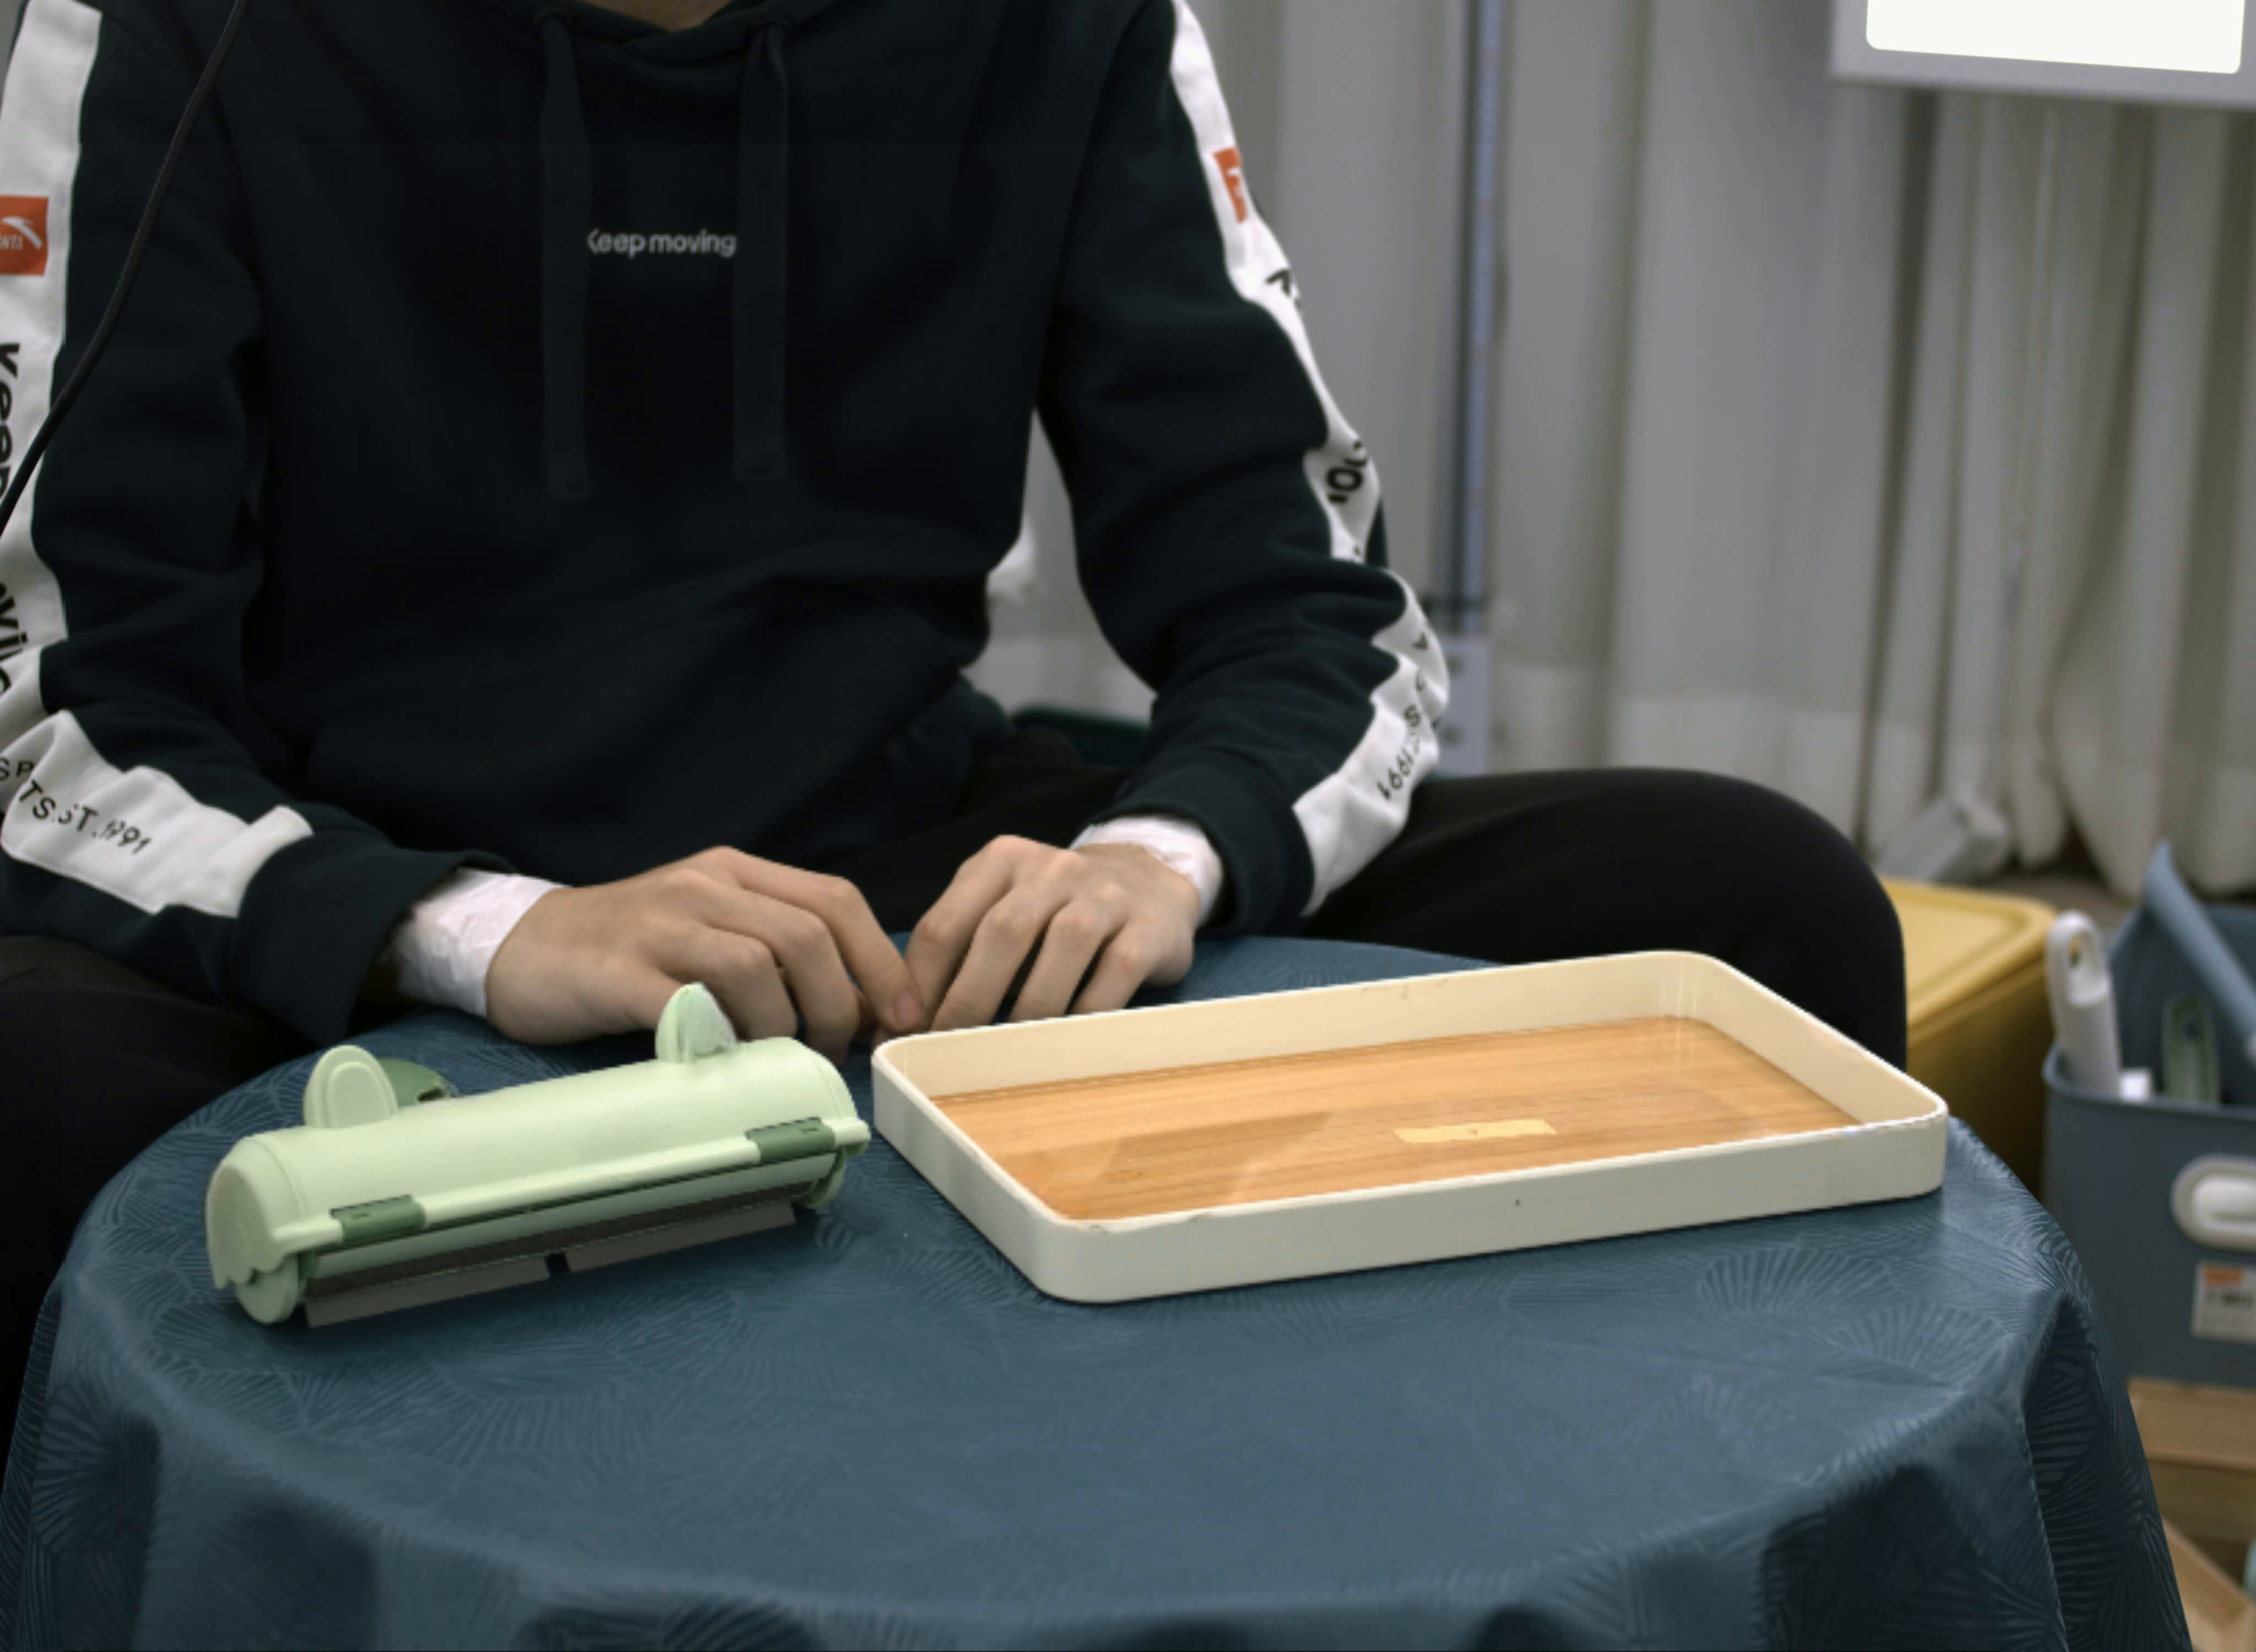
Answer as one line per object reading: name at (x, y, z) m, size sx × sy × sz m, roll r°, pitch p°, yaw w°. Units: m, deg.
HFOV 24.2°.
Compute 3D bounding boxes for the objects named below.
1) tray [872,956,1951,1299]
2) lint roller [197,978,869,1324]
tray at (0.086, 0.091, 1.649) m, size 0.301 × 0.027 × 0.189 m, roll -5°, pitch 16°, yaw -20°
lint roller at (-0.204, 0.080, 1.586) m, size 0.199 × 0.083 × 0.181 m, roll -10°, pitch 23°, yaw -32°
